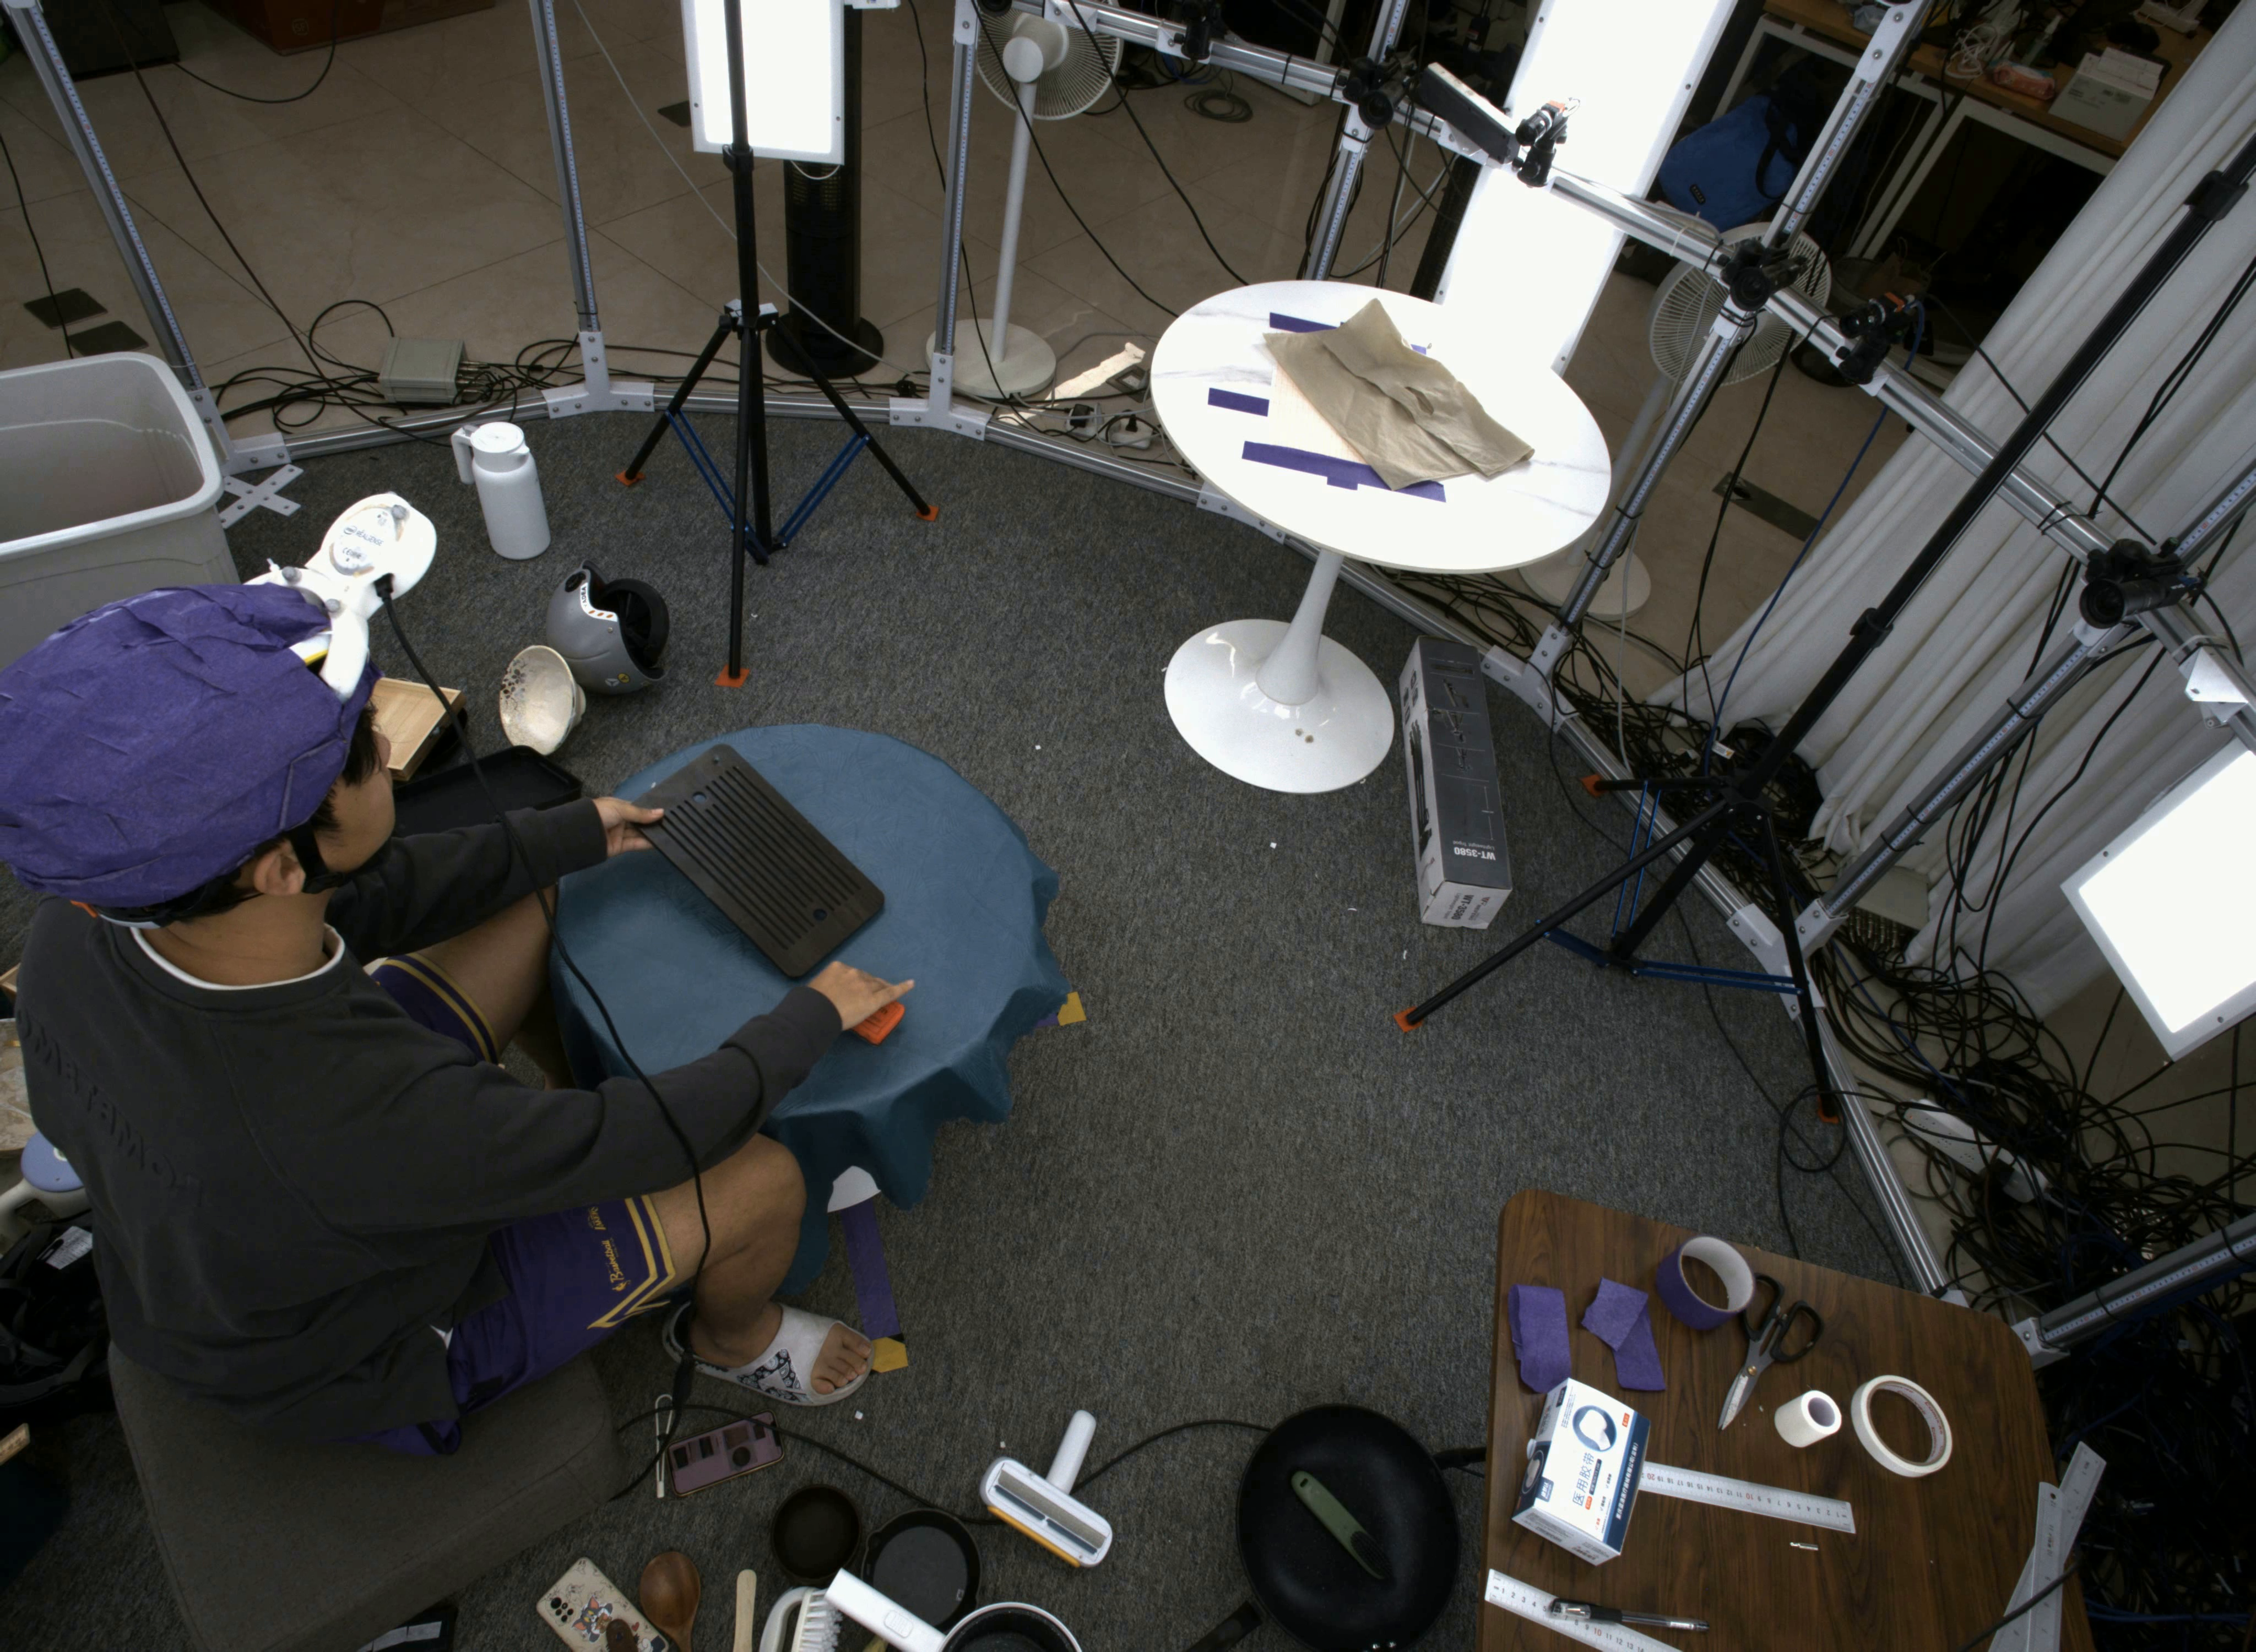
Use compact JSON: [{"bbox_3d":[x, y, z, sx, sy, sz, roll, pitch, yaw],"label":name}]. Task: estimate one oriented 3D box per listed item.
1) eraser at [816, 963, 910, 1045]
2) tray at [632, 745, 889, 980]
[{"bbox_3d":[-0.322,0.213,1.577,0.106,0.023,0.059,33,53,9],"label":"eraser"},{"bbox_3d":[-0.464,0.042,1.633,0.305,0.018,0.170,44,53,1],"label":"tray"}]
